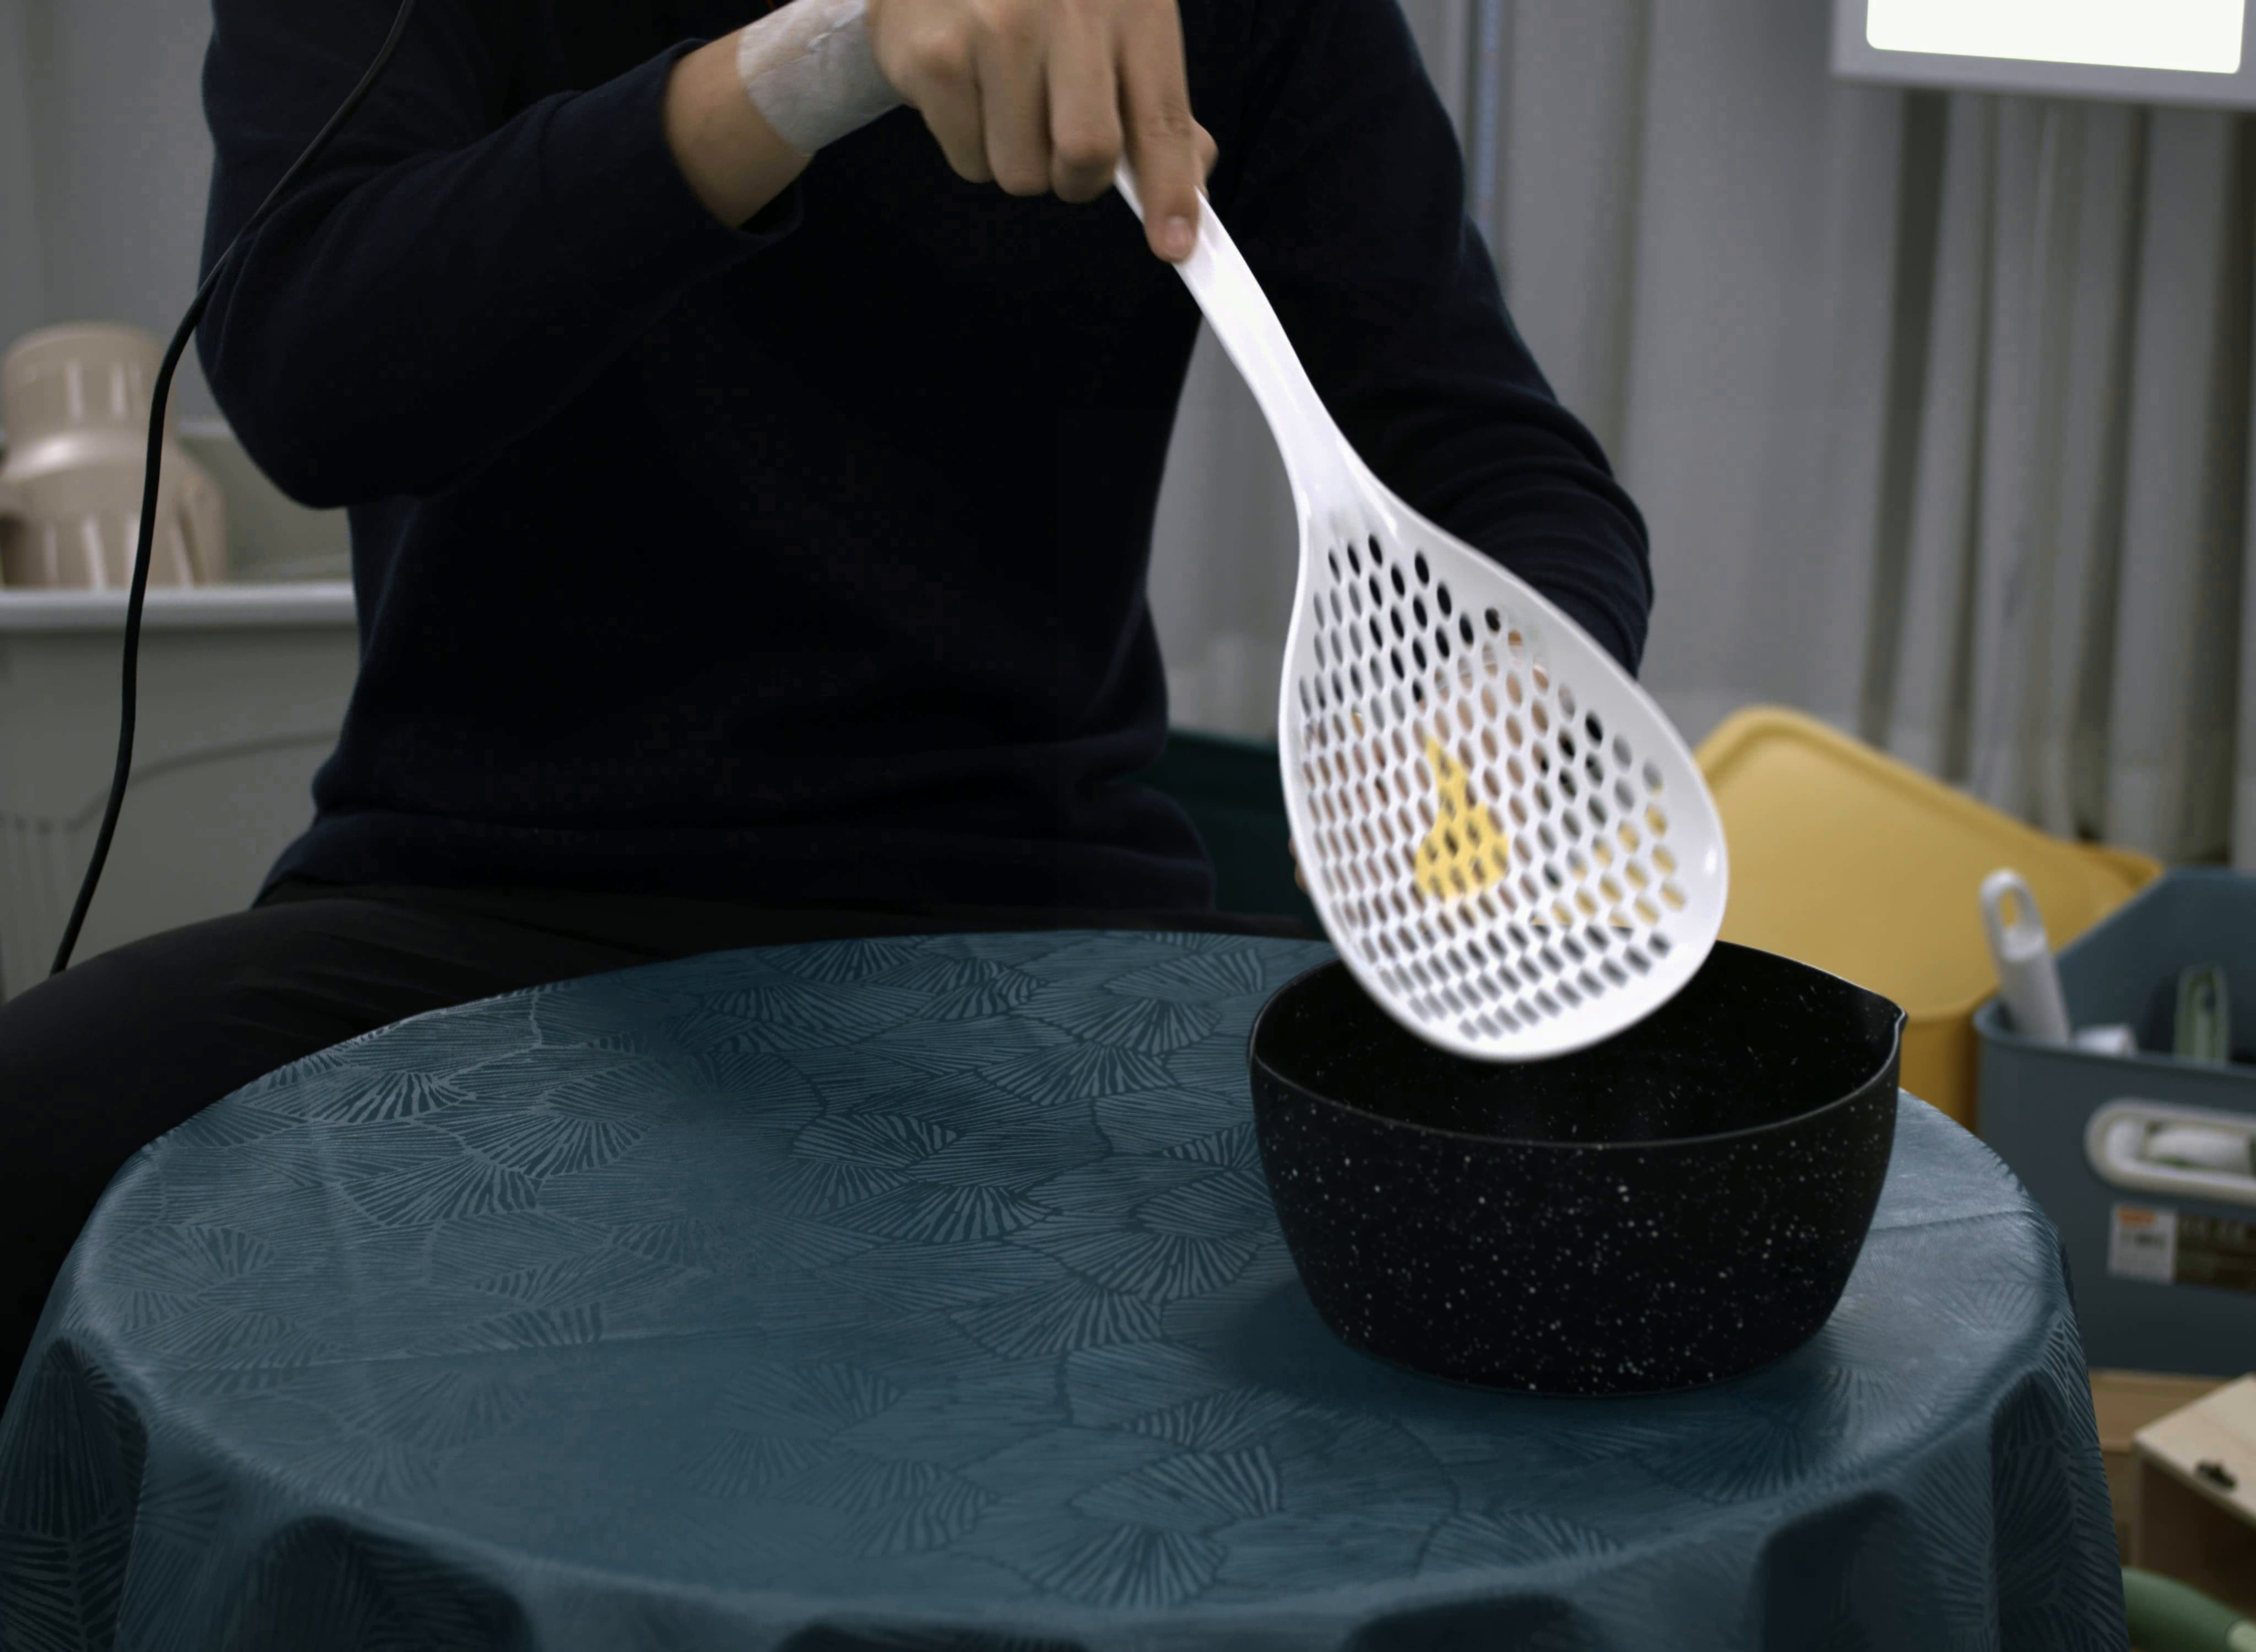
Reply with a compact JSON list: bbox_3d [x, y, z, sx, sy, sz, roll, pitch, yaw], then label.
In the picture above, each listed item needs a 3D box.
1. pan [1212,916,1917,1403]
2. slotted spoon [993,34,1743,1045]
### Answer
[{"bbox_3d":[0.109,0.063,1.585,0.207,0.109,0.339,-5,20,-14],"label":"pan"},{"bbox_3d":[0.059,-0.094,1.568,0.137,0.348,0.050,-27,-2,-24],"label":"slotted spoon"}]
